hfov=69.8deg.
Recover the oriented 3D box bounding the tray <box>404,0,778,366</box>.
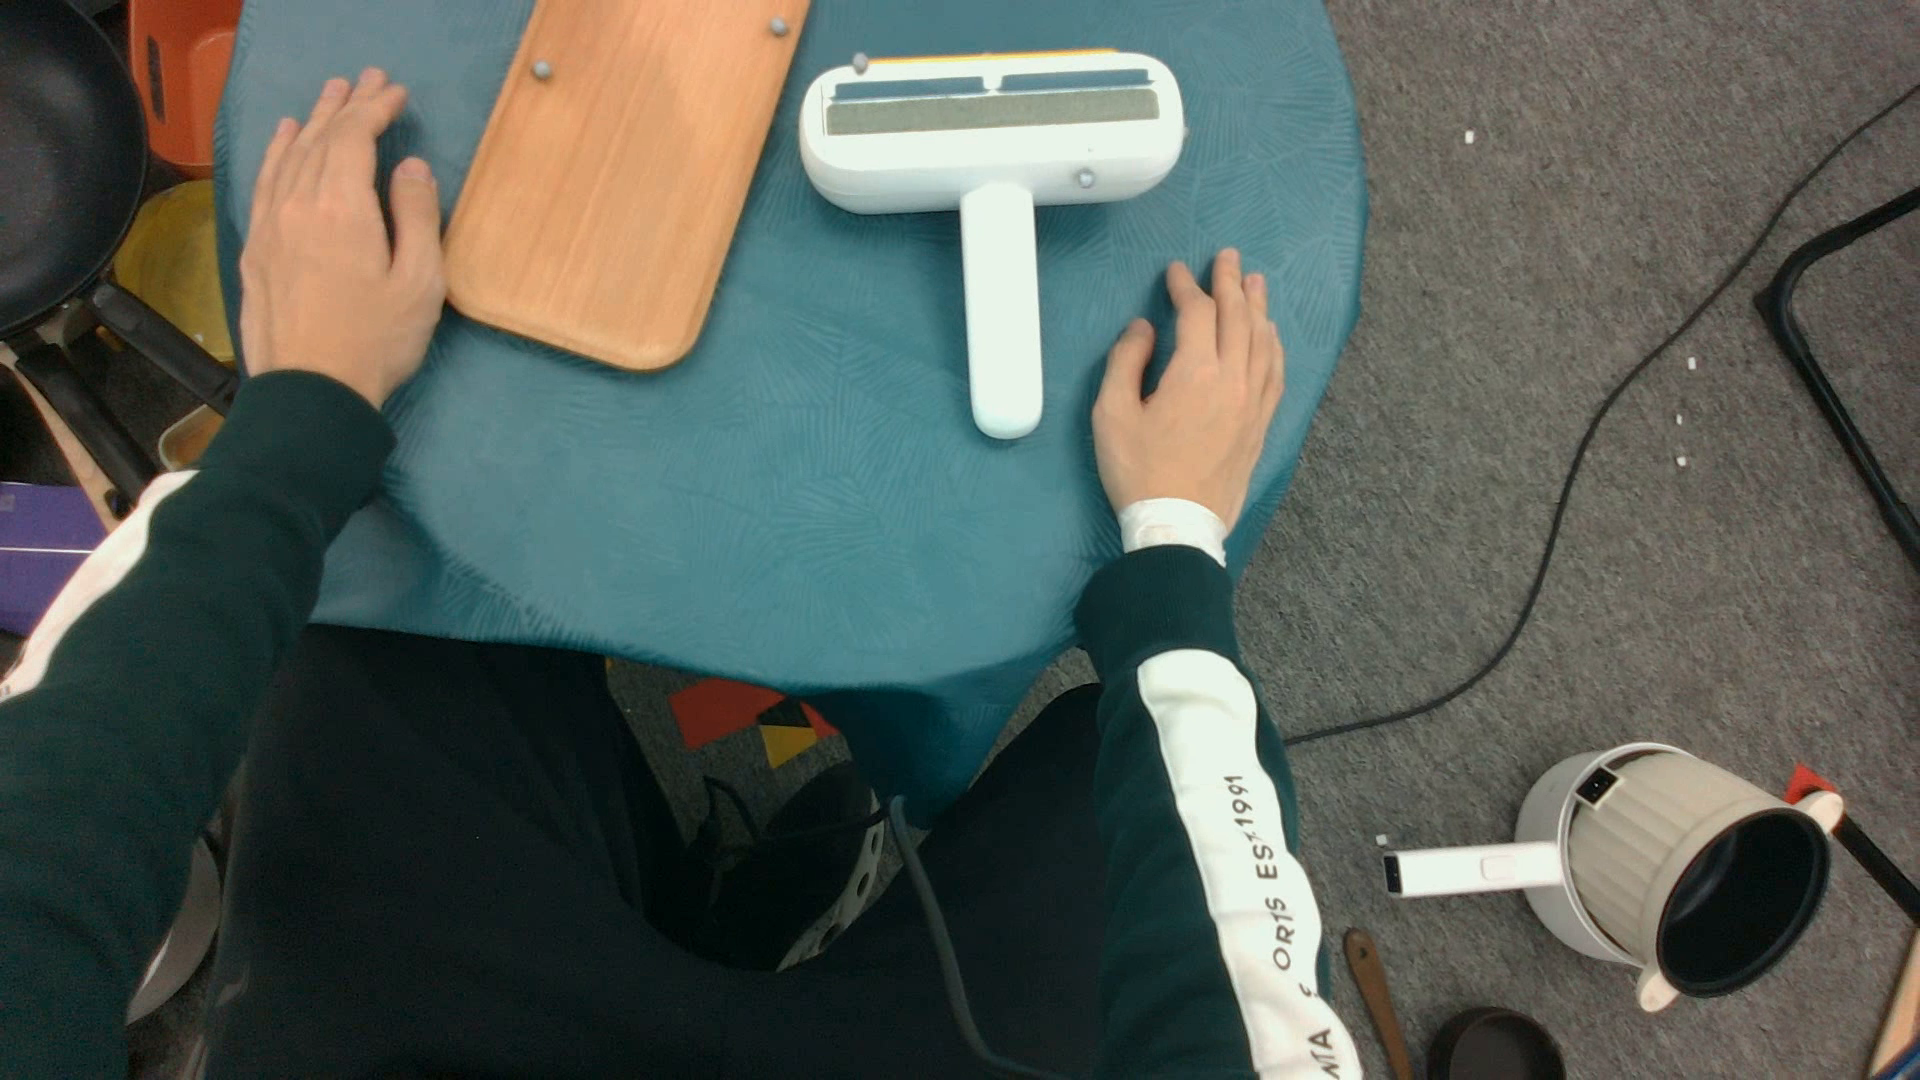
[{"bbox_3d":[-0.180,-0.212,0.695,0.130,0.023,0.251,17,75,-7],"label":"tray"}]

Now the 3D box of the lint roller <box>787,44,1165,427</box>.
[{"bbox_3d":[0.006,-0.155,0.717,0.193,0.074,0.192,1,92,-6],"label":"lint roller"}]
